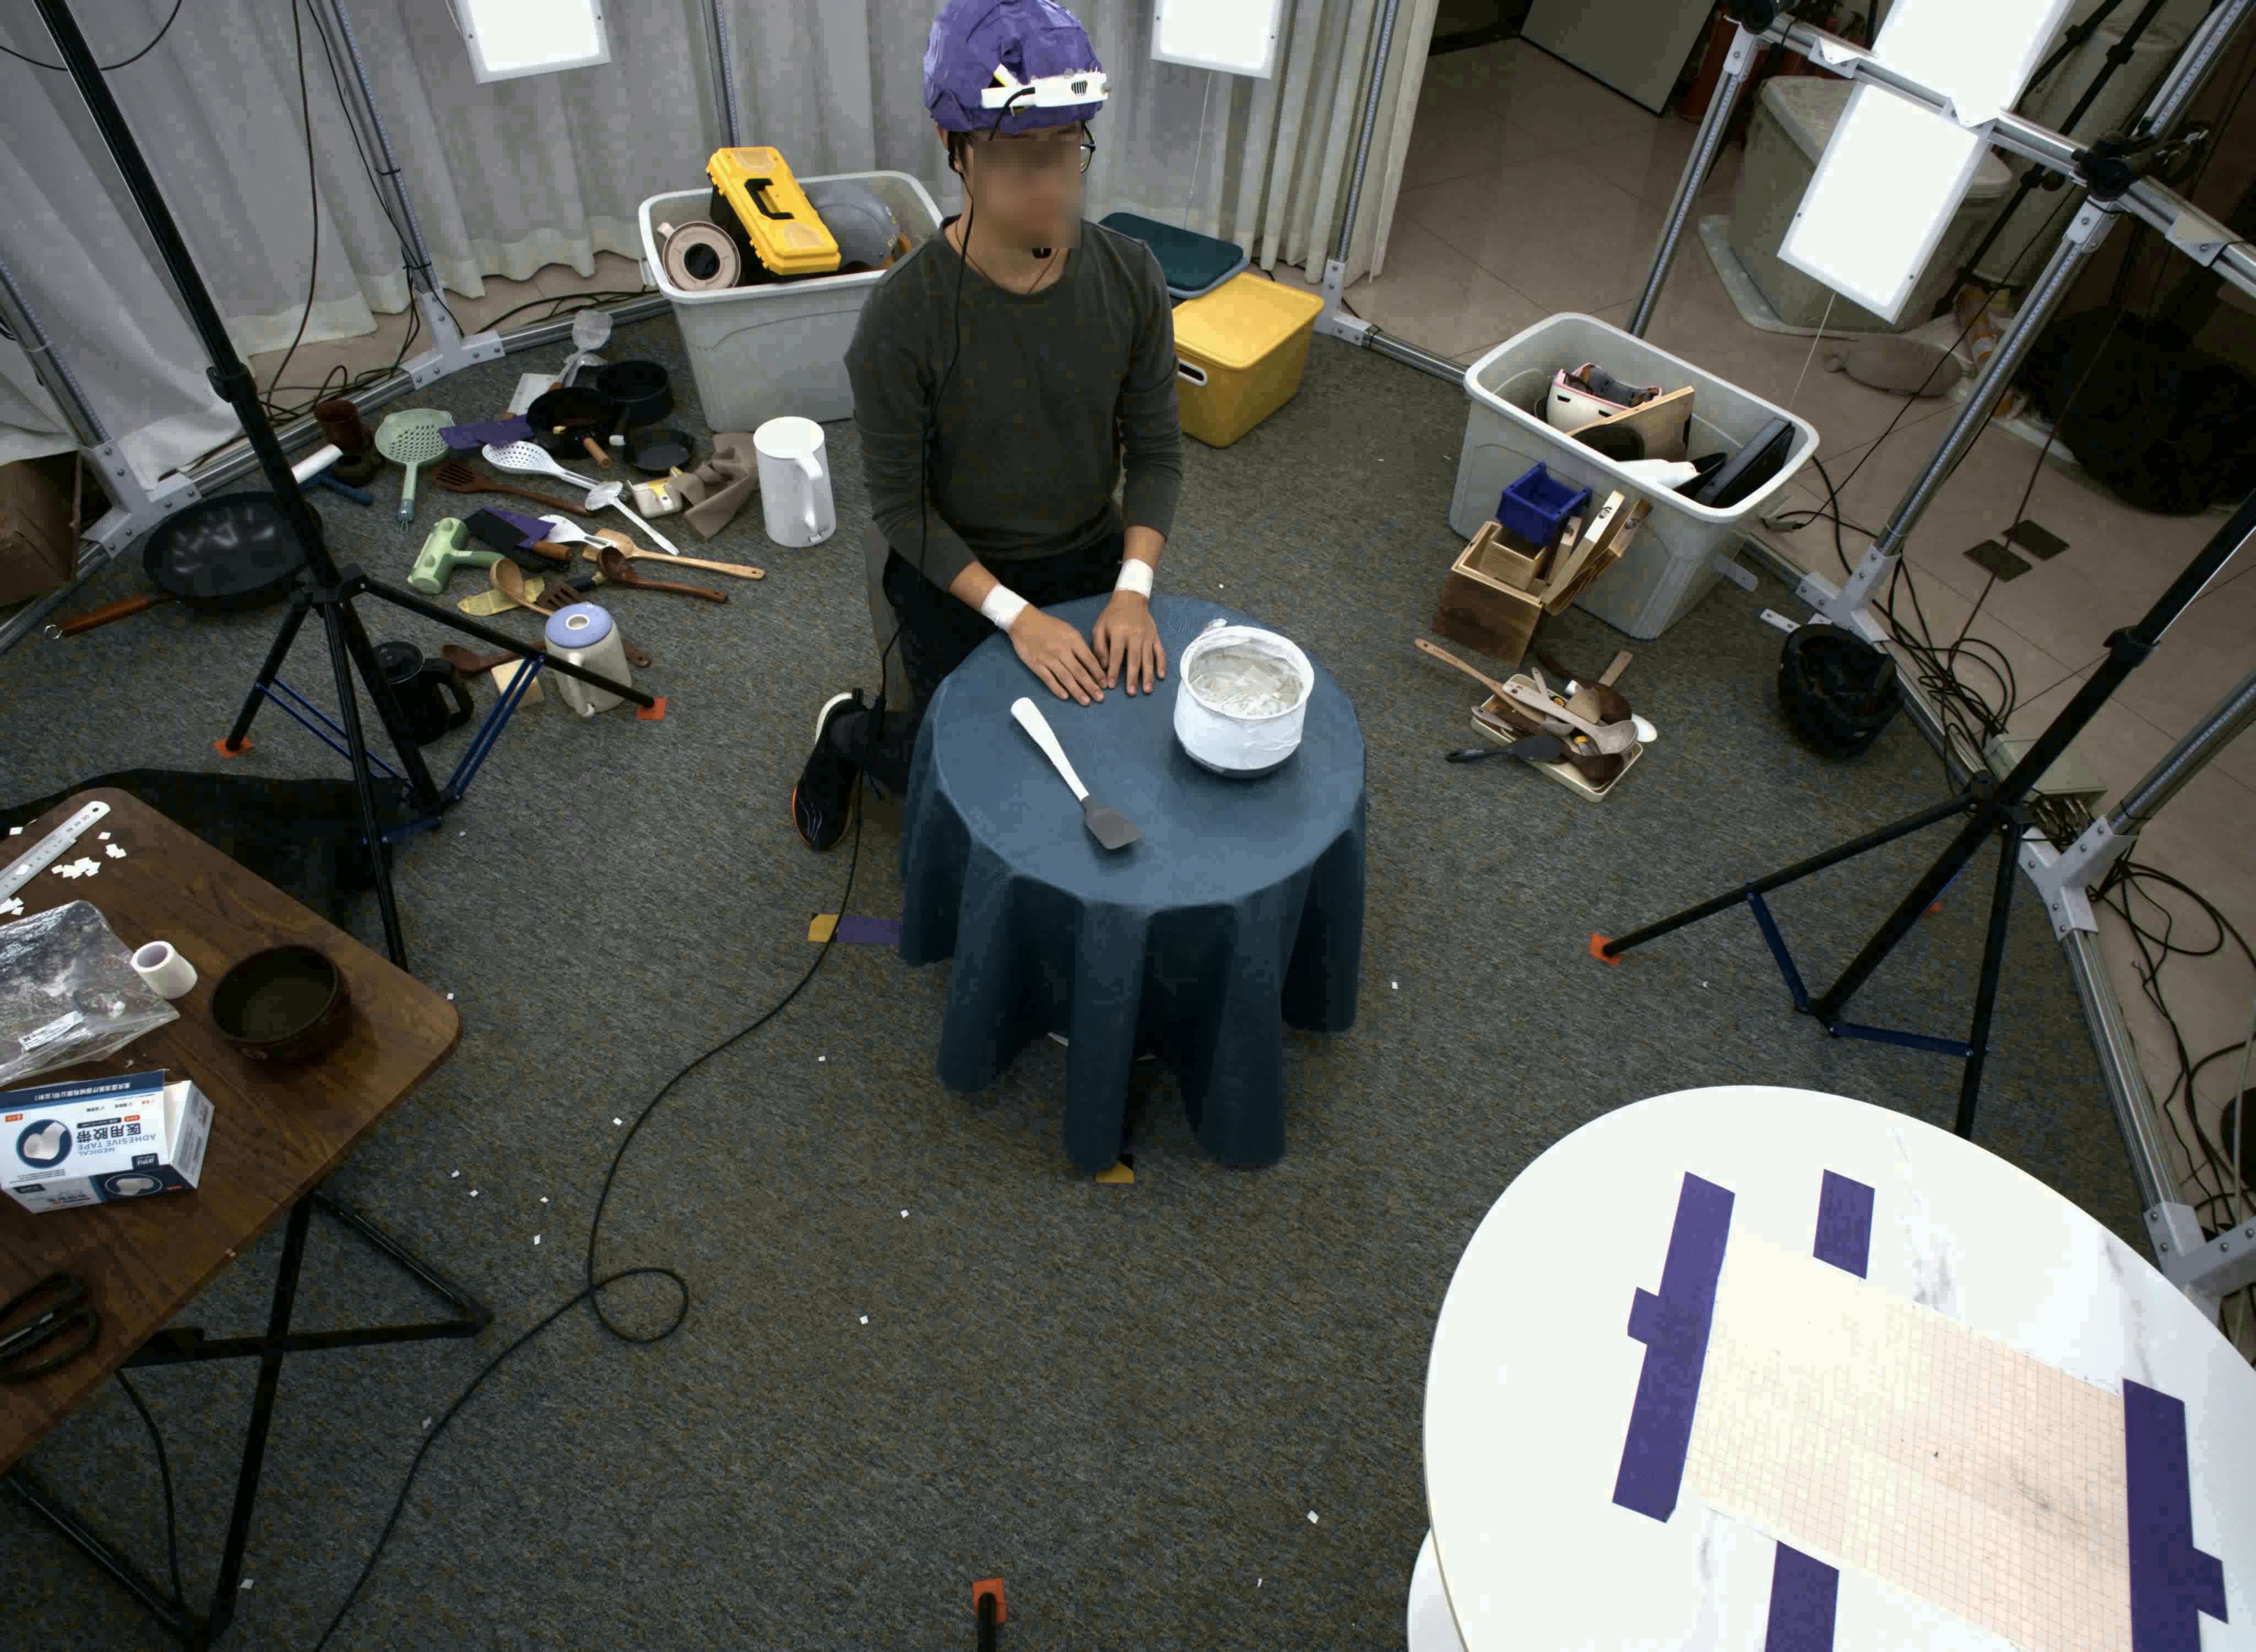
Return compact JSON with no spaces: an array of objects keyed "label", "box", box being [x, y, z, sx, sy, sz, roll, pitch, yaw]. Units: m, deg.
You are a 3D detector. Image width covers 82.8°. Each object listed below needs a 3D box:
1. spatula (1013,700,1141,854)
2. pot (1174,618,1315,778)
[{"label":"spatula","box":[-0.075,-0.065,1.698,0.059,0.031,0.294,-19,52,-24]},{"label":"pot","box":[0.144,-0.184,1.748,0.179,0.133,0.239,-12,51,-15]}]
